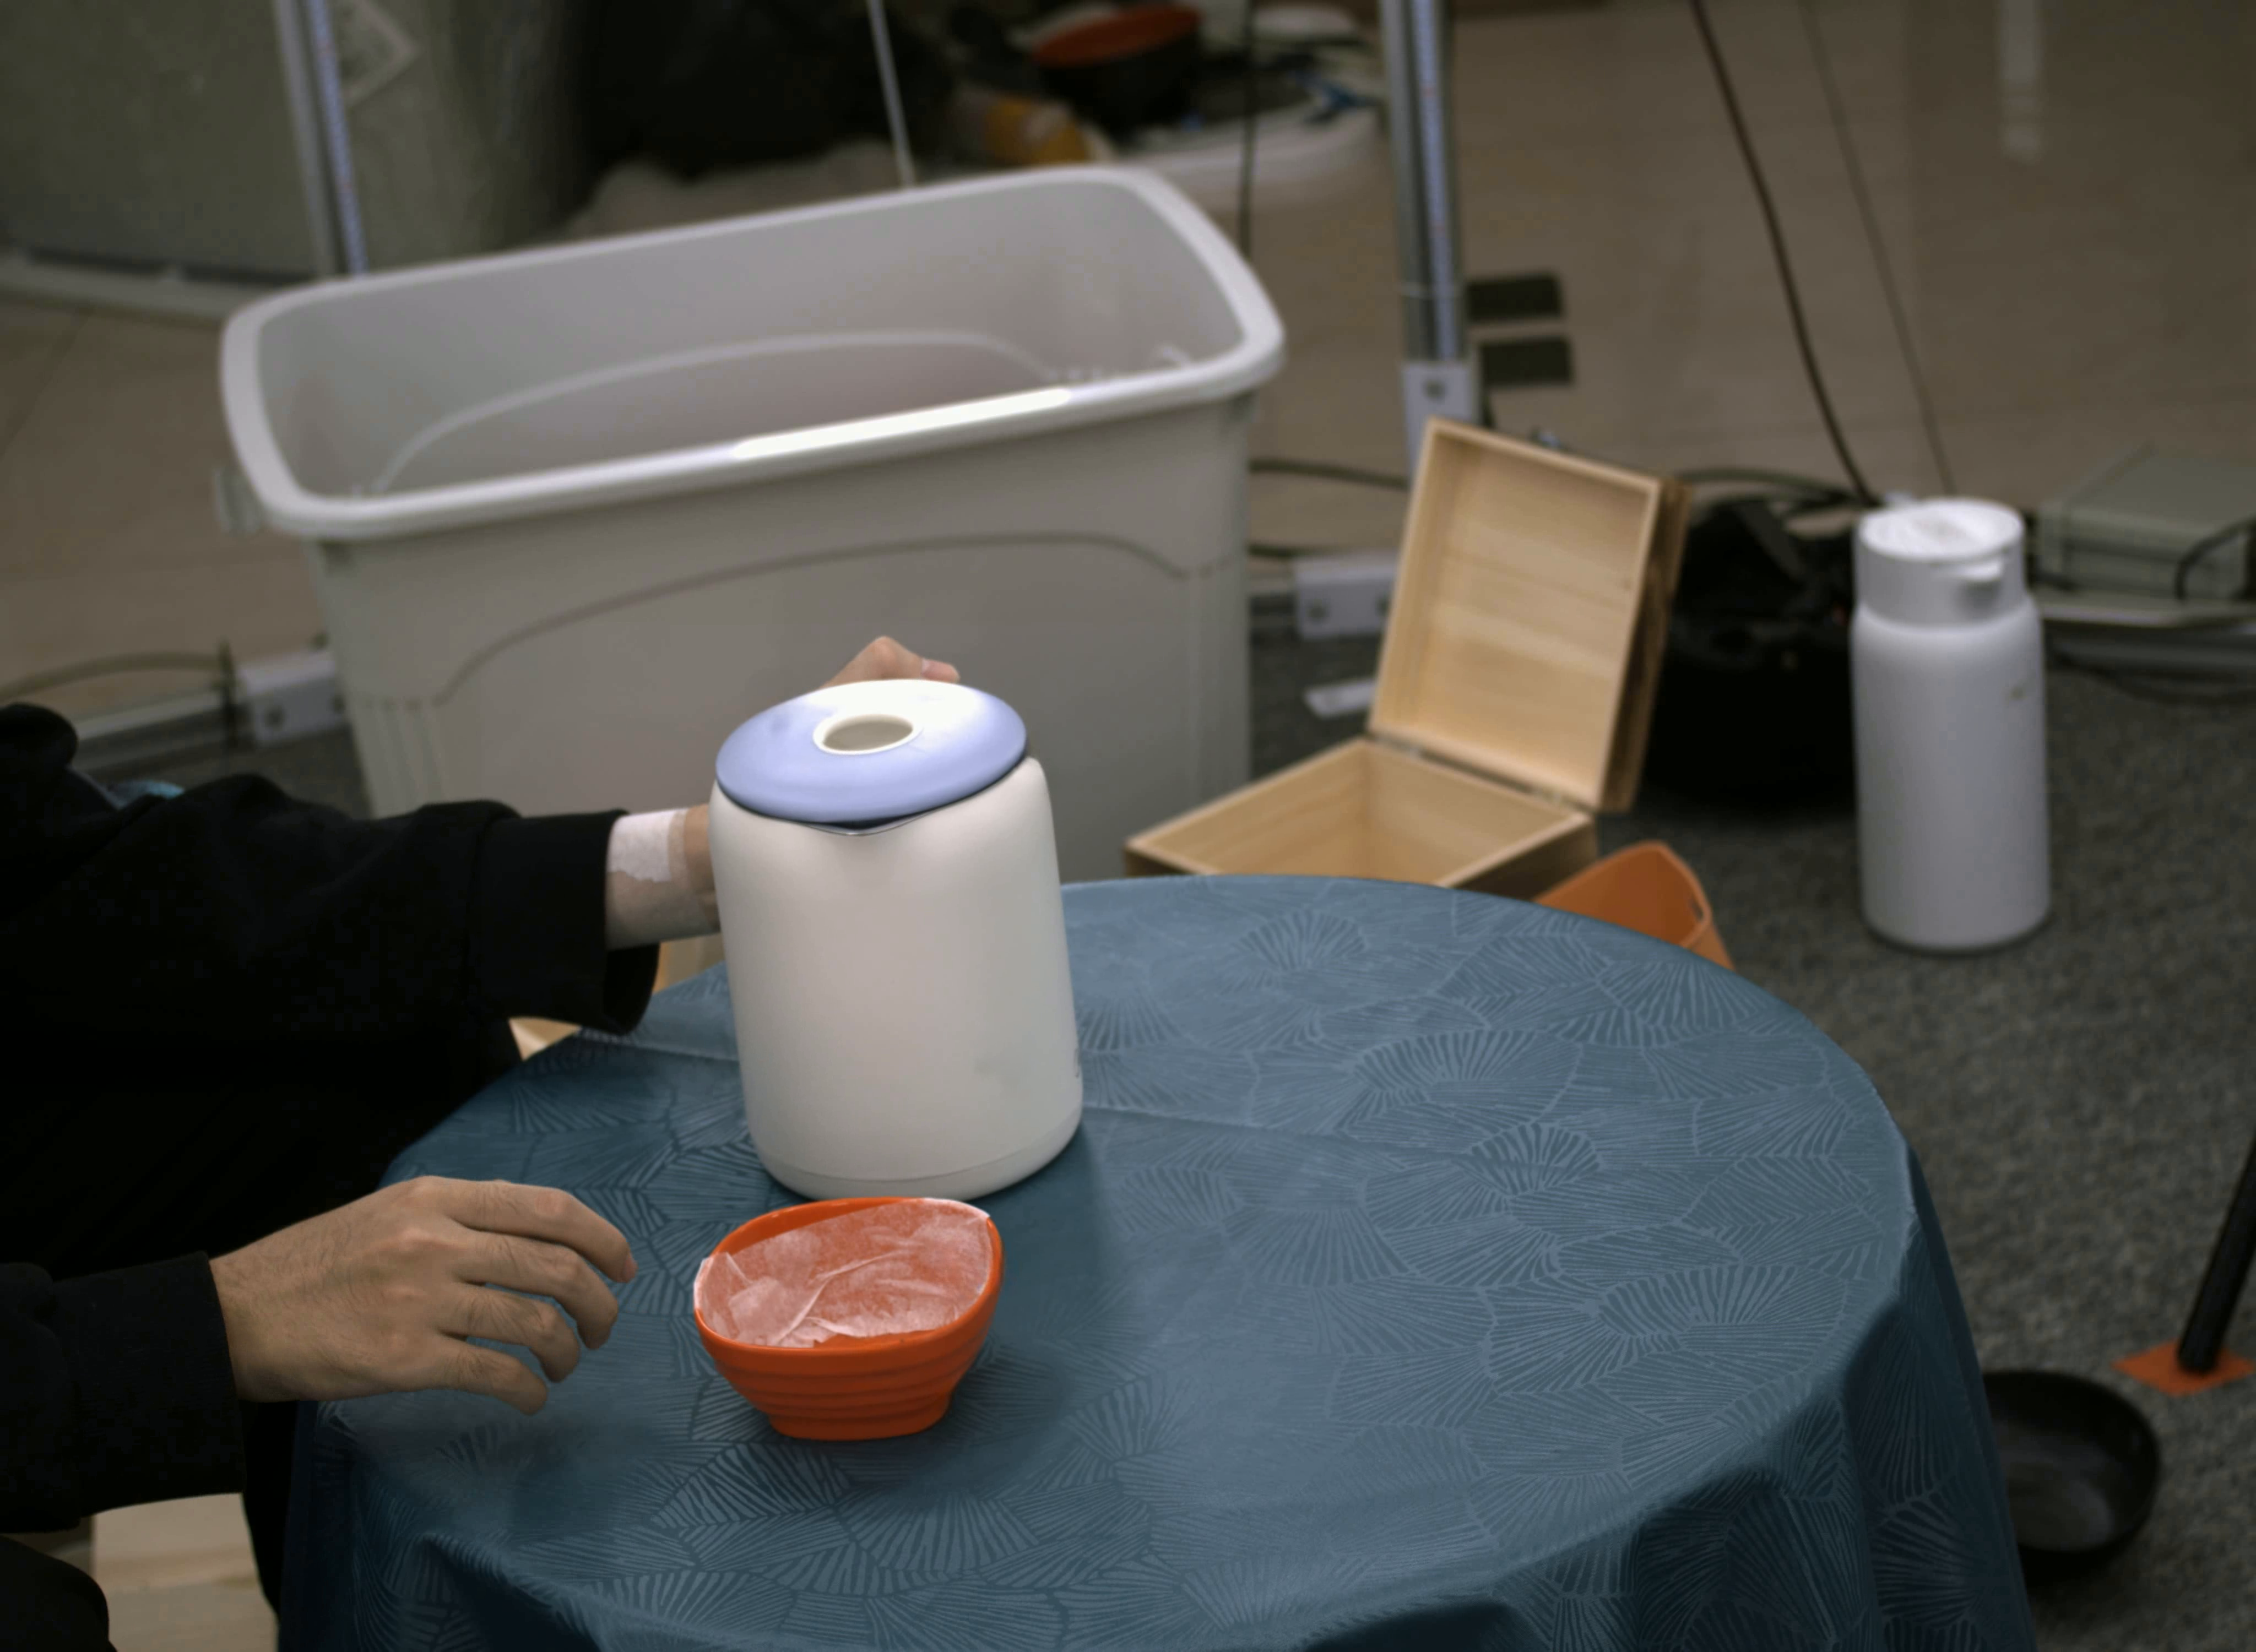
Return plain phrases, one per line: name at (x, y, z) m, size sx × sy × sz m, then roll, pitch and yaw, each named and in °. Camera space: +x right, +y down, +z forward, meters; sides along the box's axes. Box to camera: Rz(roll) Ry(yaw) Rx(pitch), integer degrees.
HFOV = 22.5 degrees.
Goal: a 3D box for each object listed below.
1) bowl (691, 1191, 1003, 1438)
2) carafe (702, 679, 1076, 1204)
bowl at (-0.098, 0.179, 2.019) m, size 0.119 × 0.052 × 0.117 m, roll -4°, pitch 27°, yaw 2°
carafe at (-0.092, 0.036, 2.184) m, size 0.132 × 0.185 × 0.188 m, roll -5°, pitch 23°, yaw 0°
